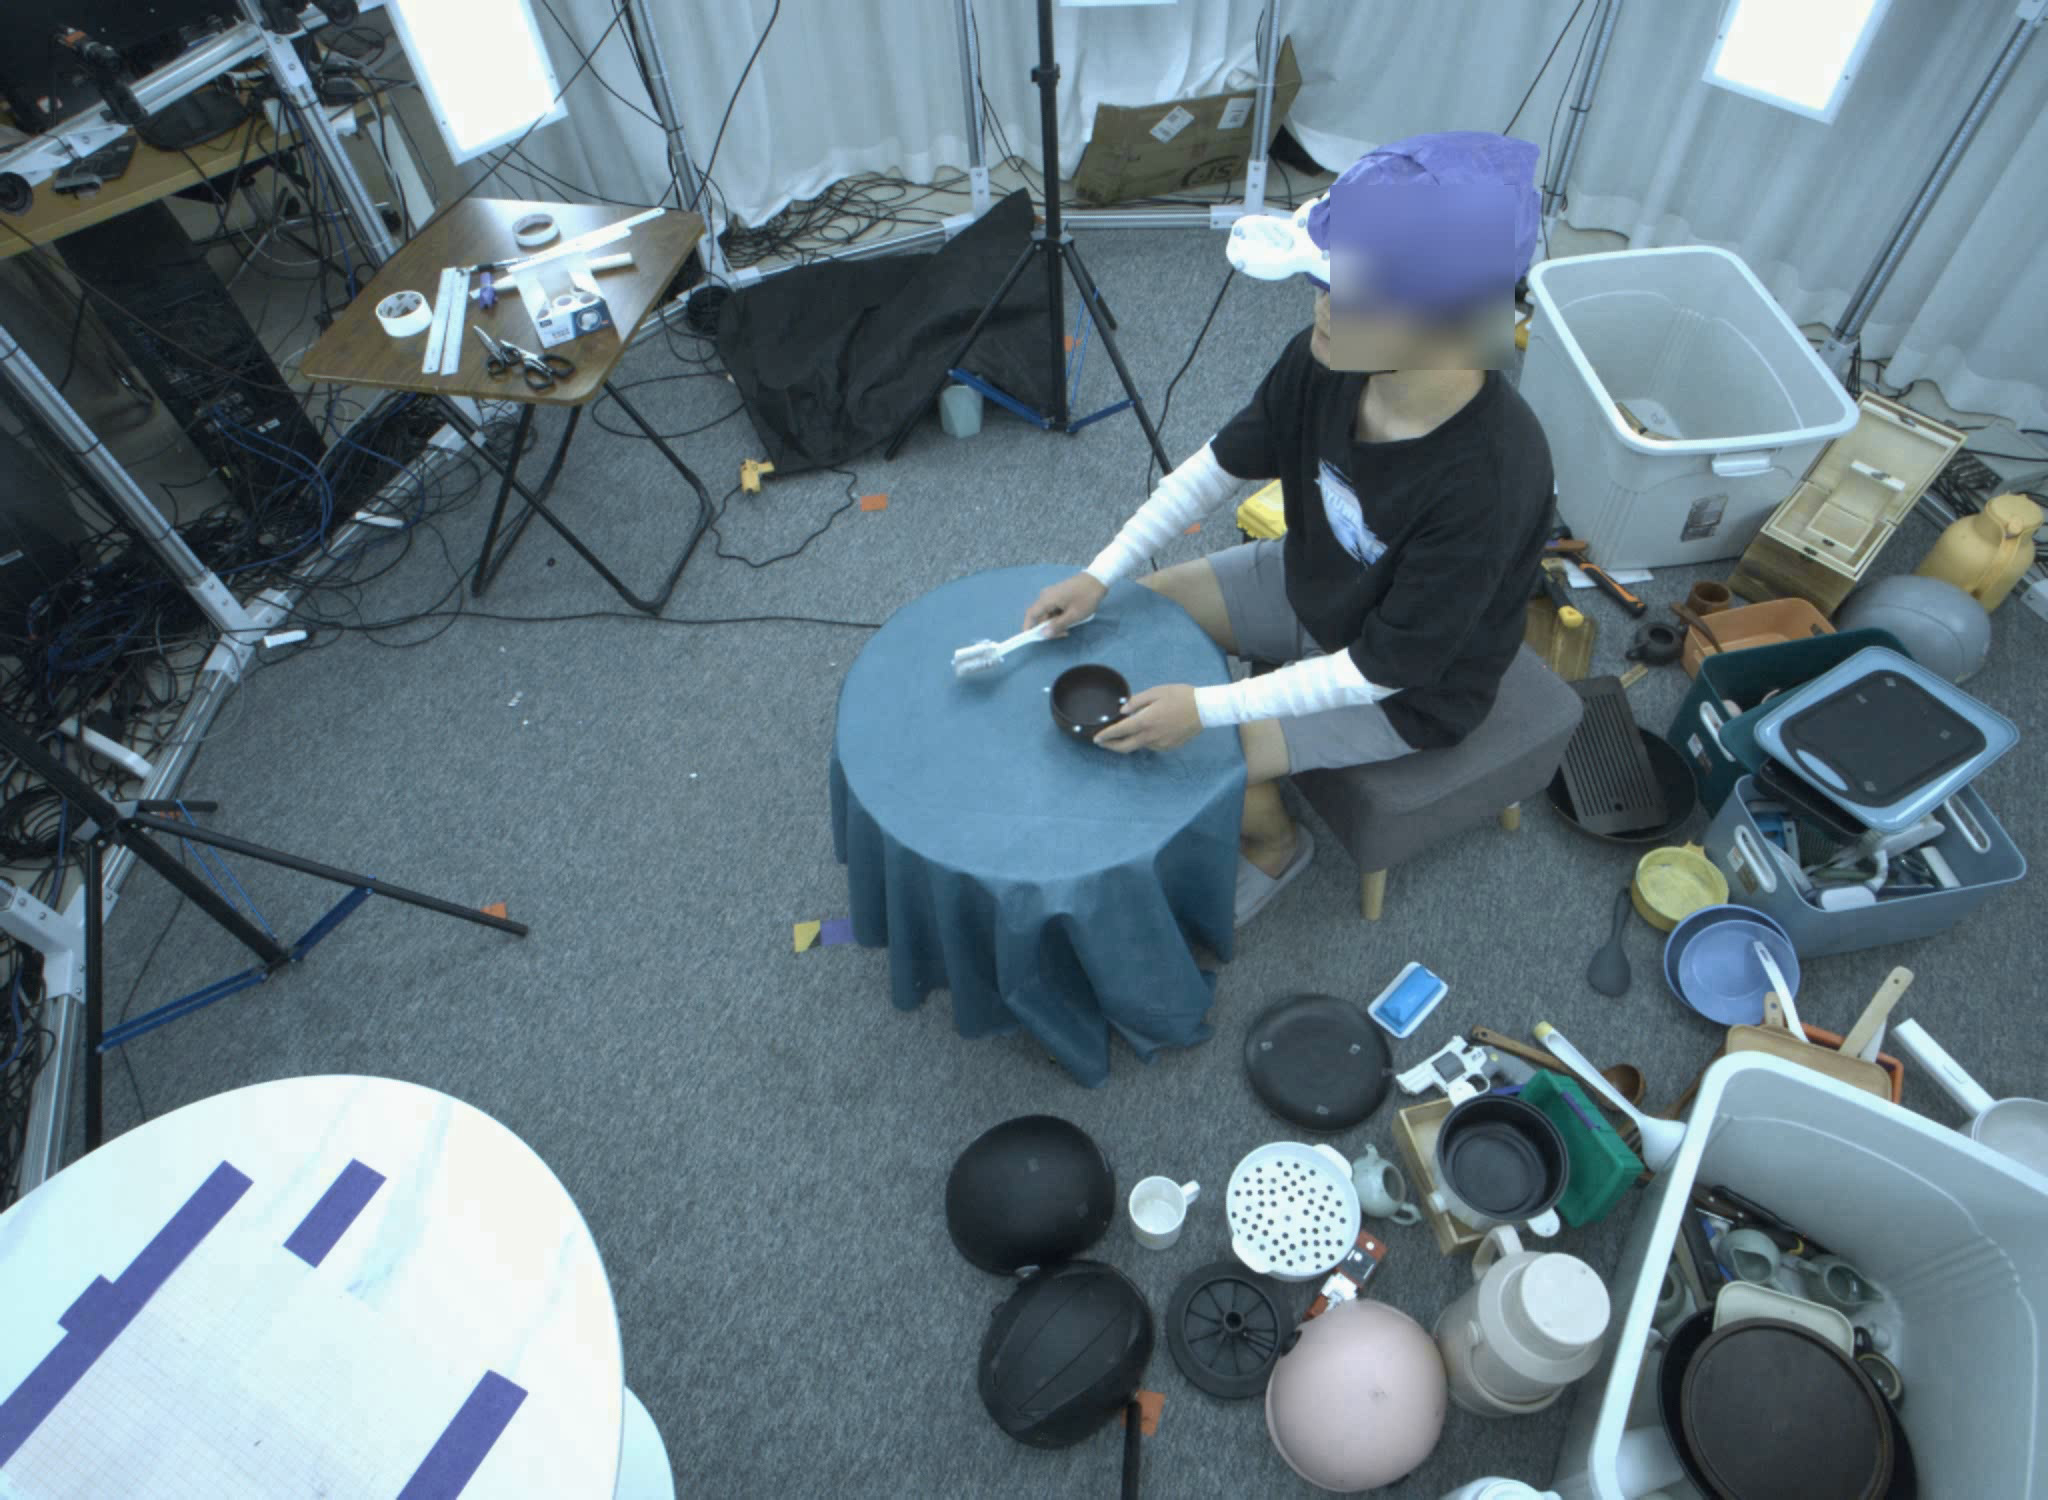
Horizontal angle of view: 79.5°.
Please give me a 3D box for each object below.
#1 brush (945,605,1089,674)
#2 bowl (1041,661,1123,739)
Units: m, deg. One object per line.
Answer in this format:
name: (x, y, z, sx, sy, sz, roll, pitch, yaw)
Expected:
brush: (-0.006, -0.167, 1.849, 0.246, 0.035, 0.049, -20, 33, -15)
bowl: (0.084, -0.064, 1.776, 0.118, 0.070, 0.117, 0, 53, 1)
